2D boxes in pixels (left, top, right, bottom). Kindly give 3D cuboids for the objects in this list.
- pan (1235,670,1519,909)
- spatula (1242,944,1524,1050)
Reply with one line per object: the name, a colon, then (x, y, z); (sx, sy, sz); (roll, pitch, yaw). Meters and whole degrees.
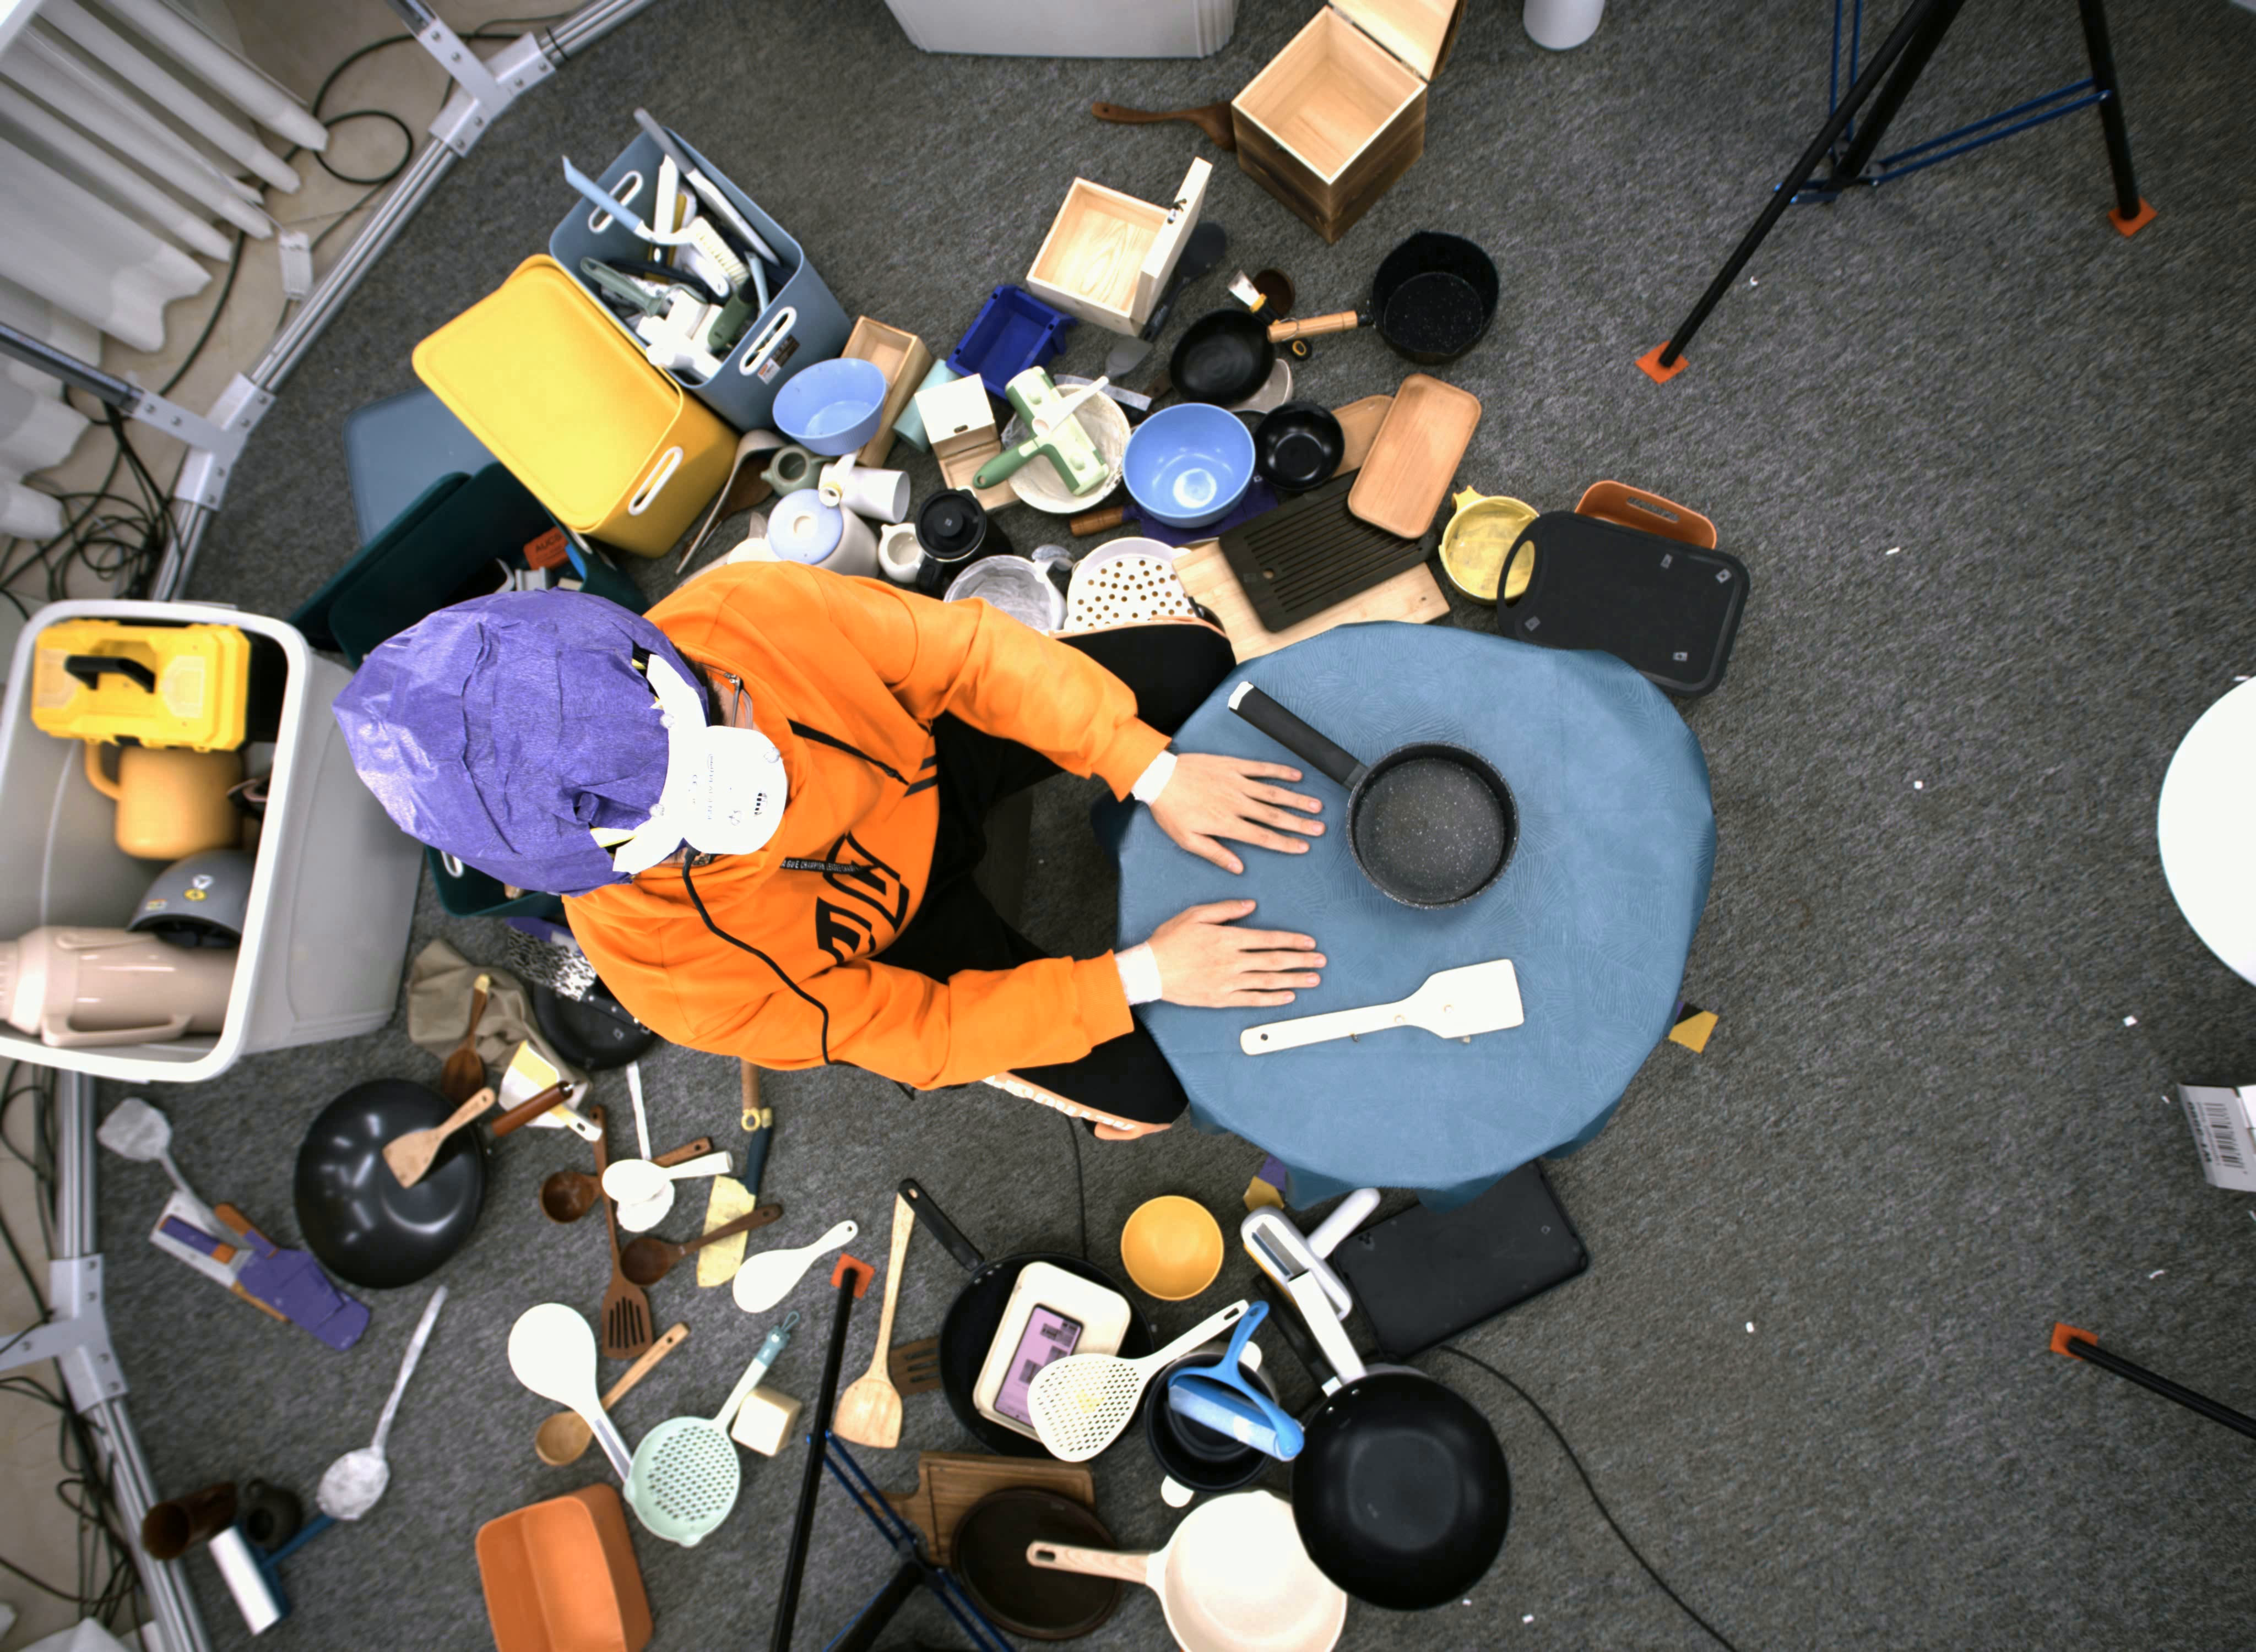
pan: (0.249, -0.047, 1.428); (0.328, 0.086, 0.172); (38, 93, 9)
spatula: (0.261, 0.189, 1.441); (0.295, 0.011, 0.071); (-15, 76, 11)
